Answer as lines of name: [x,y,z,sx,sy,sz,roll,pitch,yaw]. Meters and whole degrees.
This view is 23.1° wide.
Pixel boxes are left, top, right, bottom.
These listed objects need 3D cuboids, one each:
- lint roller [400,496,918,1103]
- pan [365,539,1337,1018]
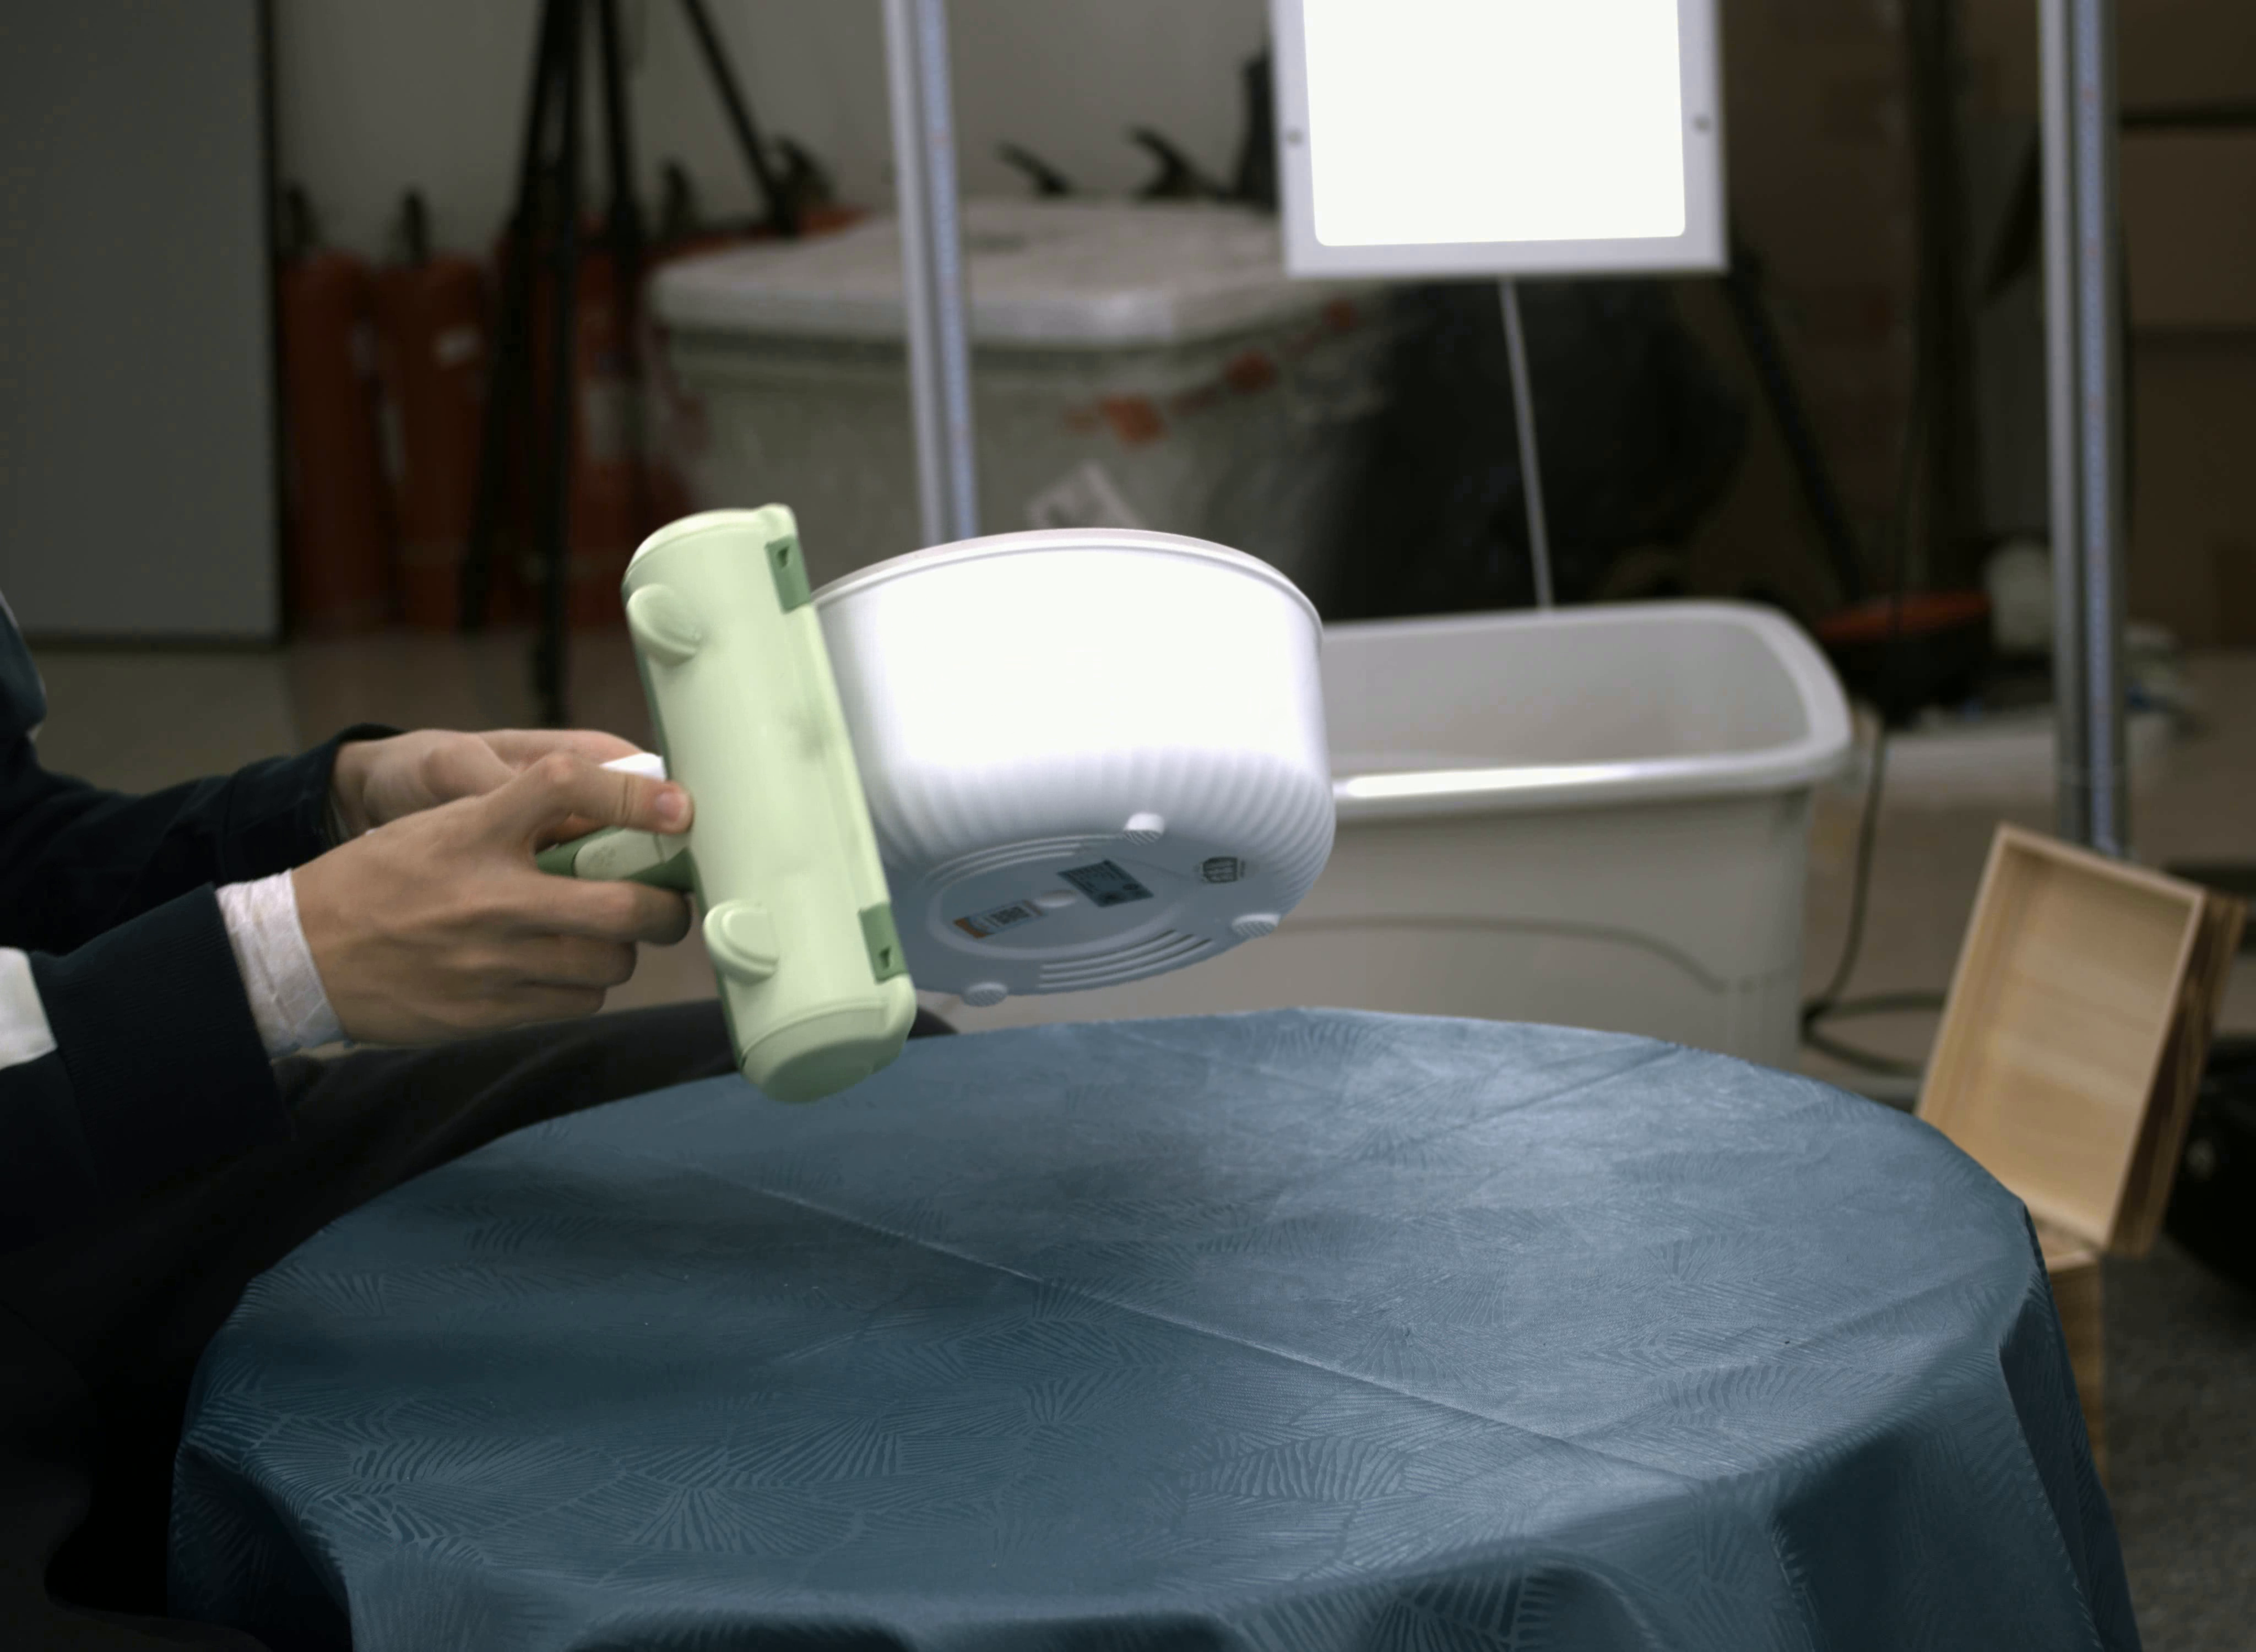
lint roller: [-0.169,0.008,1.787,0.185,0.199,0.081,-22,-25,15]
pan: [-0.098,0.010,1.889,0.360,0.102,0.198,-16,-22,20]
